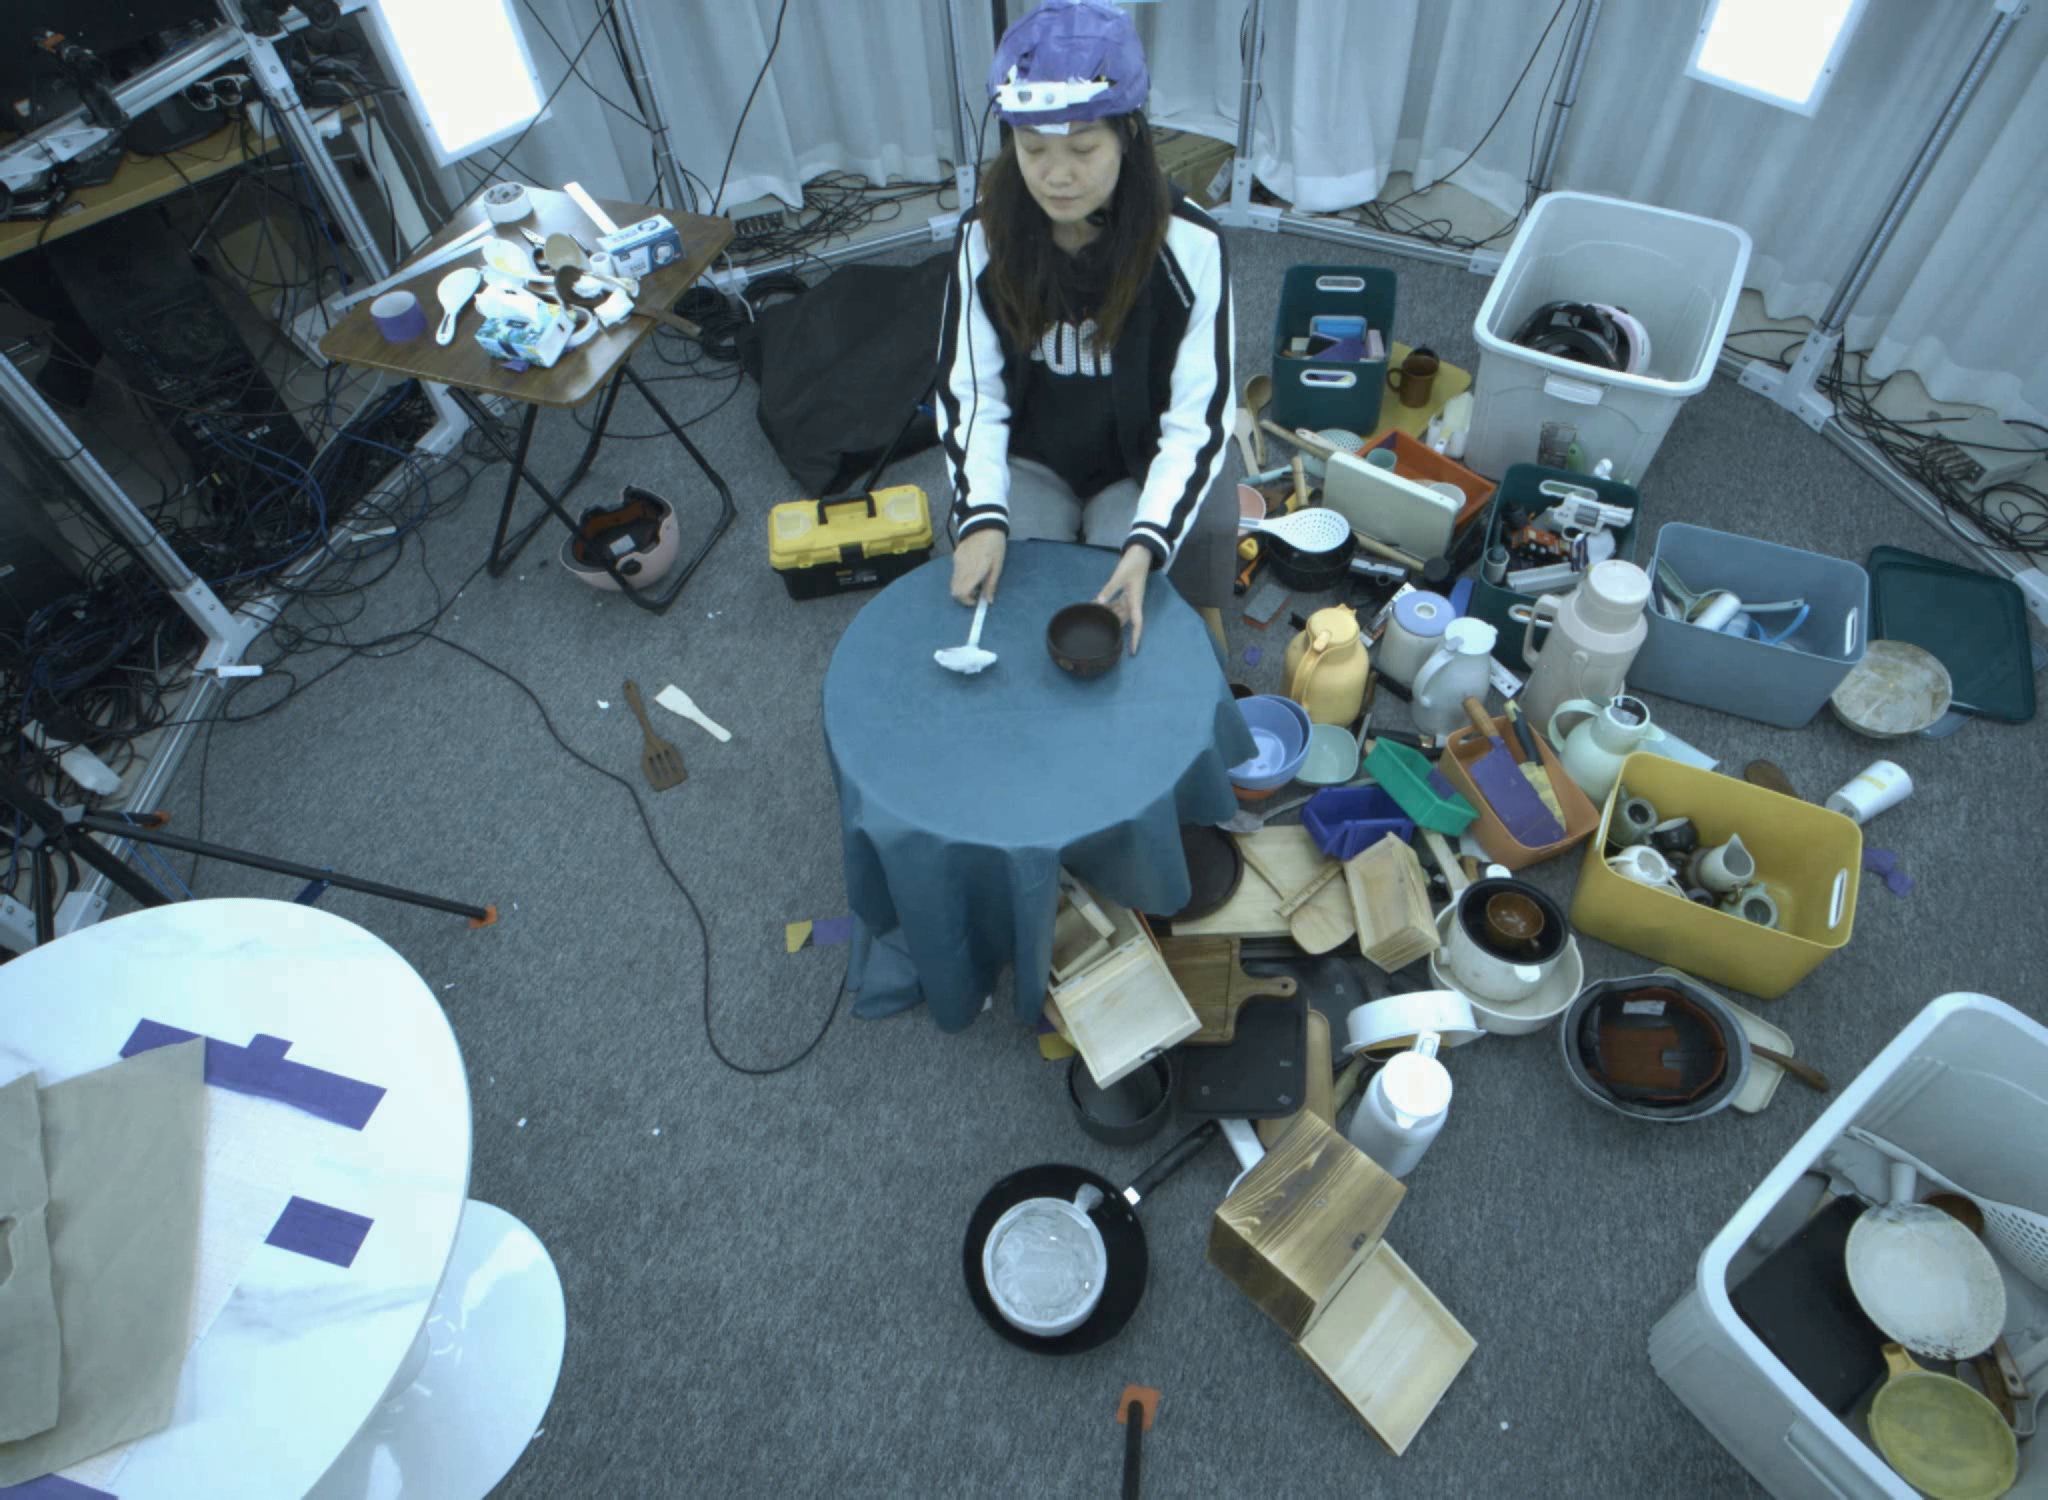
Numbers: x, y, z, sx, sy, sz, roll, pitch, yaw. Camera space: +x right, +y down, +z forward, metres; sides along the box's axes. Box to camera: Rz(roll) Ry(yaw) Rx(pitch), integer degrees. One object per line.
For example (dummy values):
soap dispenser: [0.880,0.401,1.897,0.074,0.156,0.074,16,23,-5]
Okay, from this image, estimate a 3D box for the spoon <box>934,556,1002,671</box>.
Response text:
spoon: [-0.066,-0.221,1.910,0.100,0.060,0.276,10,56,6]

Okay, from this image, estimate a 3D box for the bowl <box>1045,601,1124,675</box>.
bowl: [0.091,-0.160,1.853,0.118,0.070,0.117,0,54,2]
